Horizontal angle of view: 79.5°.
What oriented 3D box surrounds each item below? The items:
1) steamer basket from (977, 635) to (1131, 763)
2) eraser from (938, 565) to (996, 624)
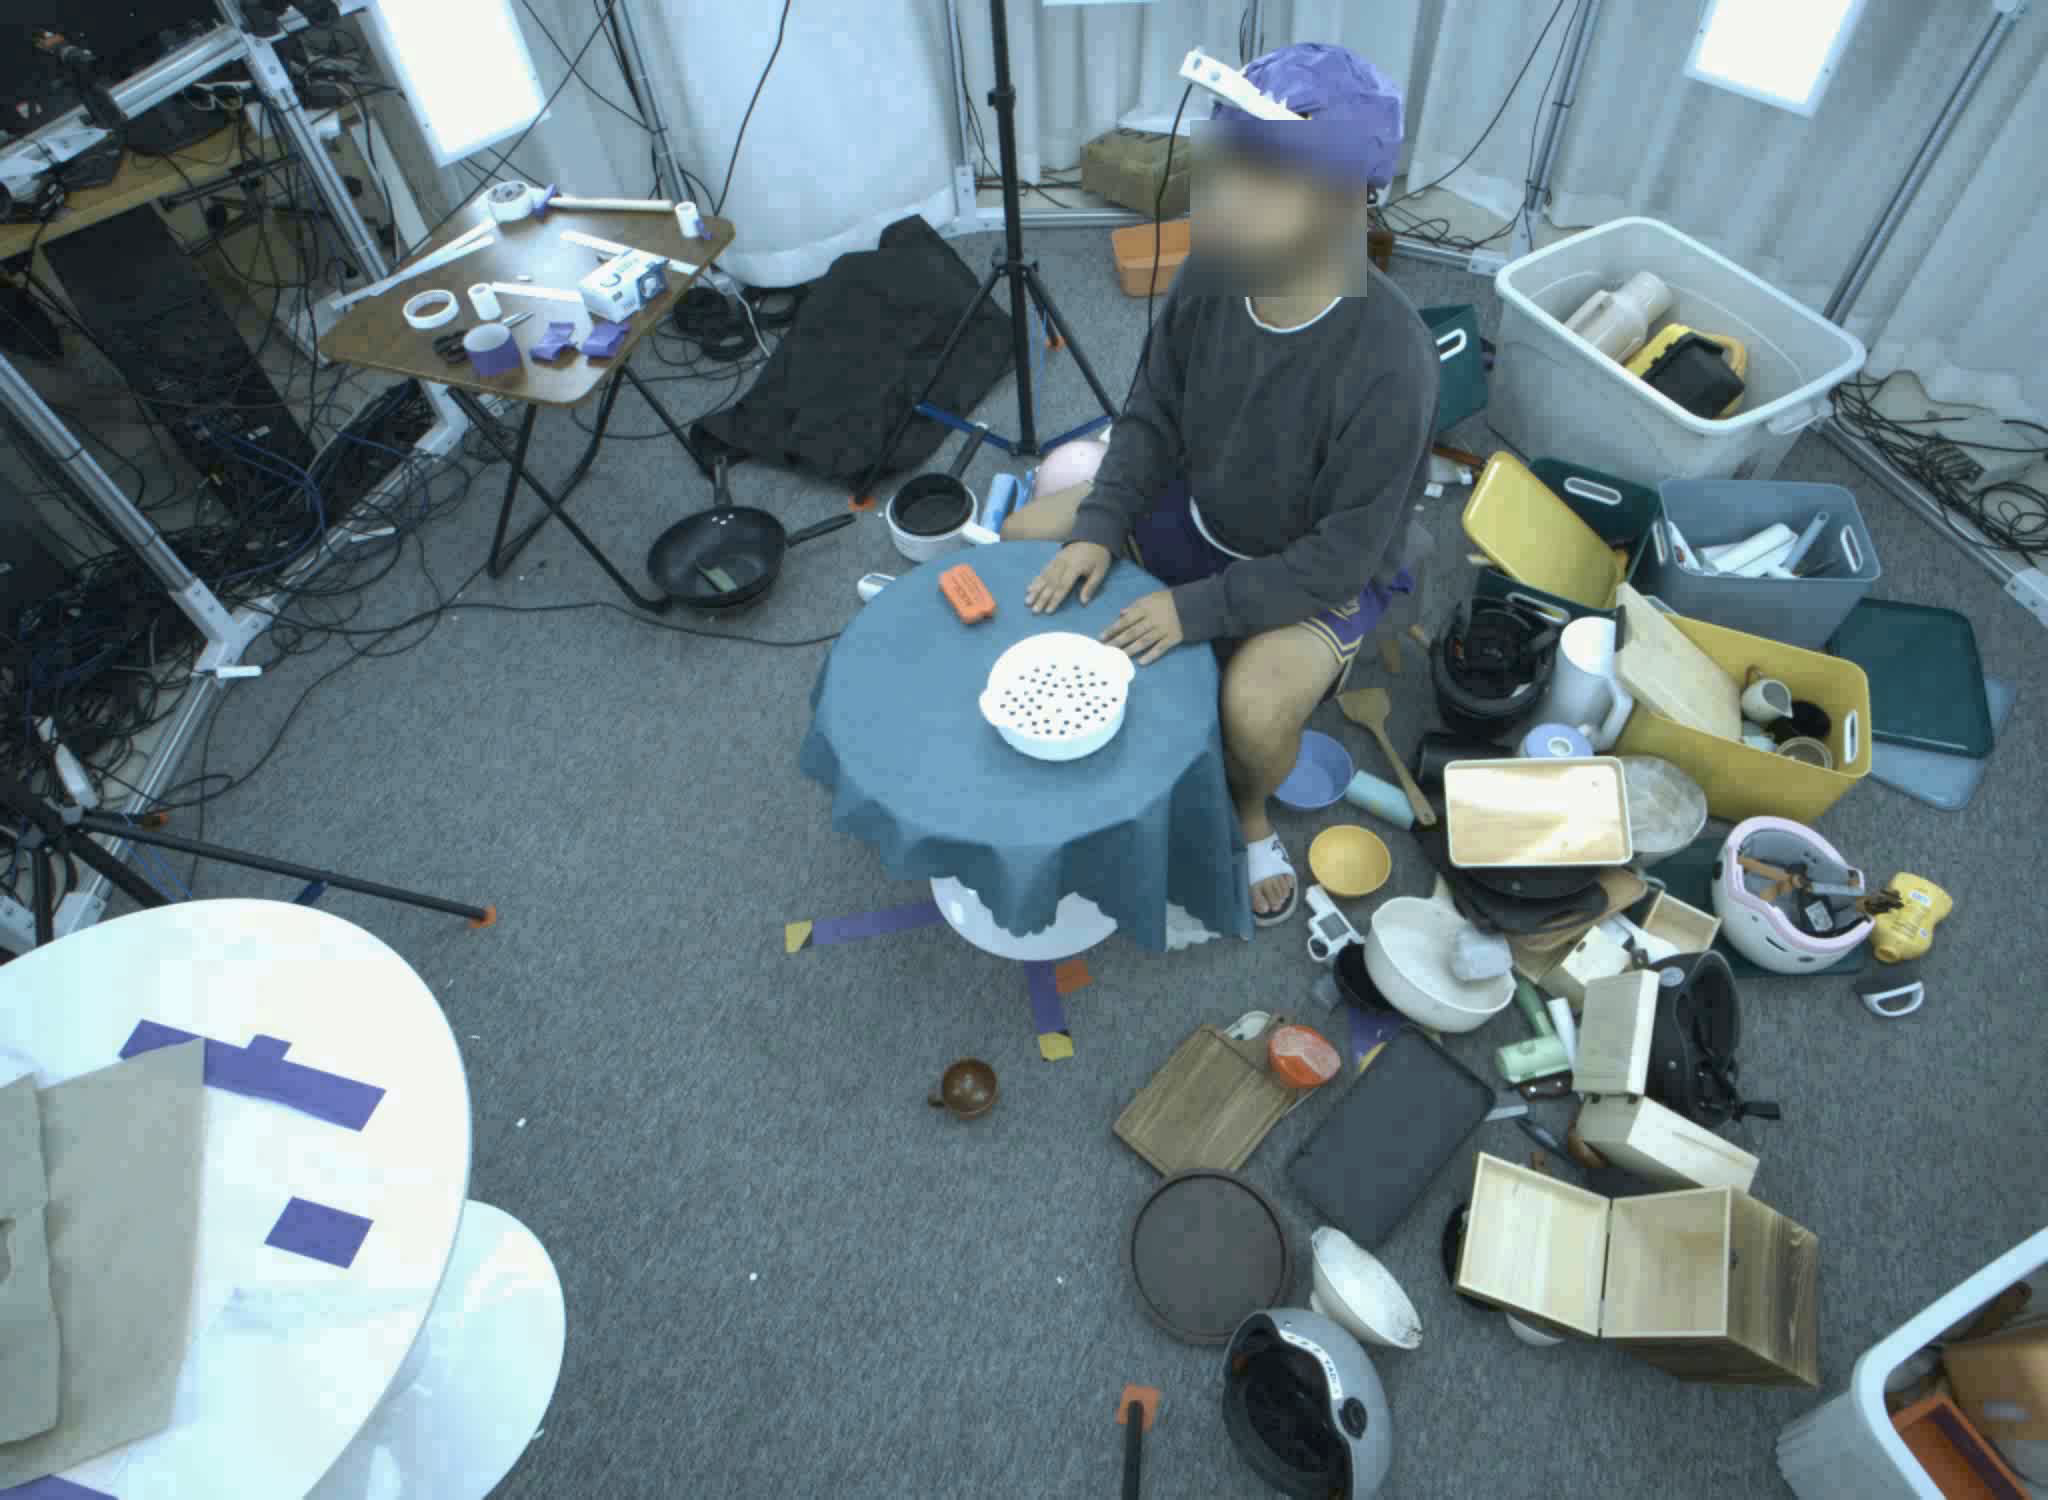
[{"bbox_3d":[0.046,-0.073,1.801,0.232,0.070,0.198,-21,56,-12],"label":"steamer basket"},{"bbox_3d":[-0.091,-0.249,1.951,0.059,0.023,0.106,-22,55,-20],"label":"eraser"}]
